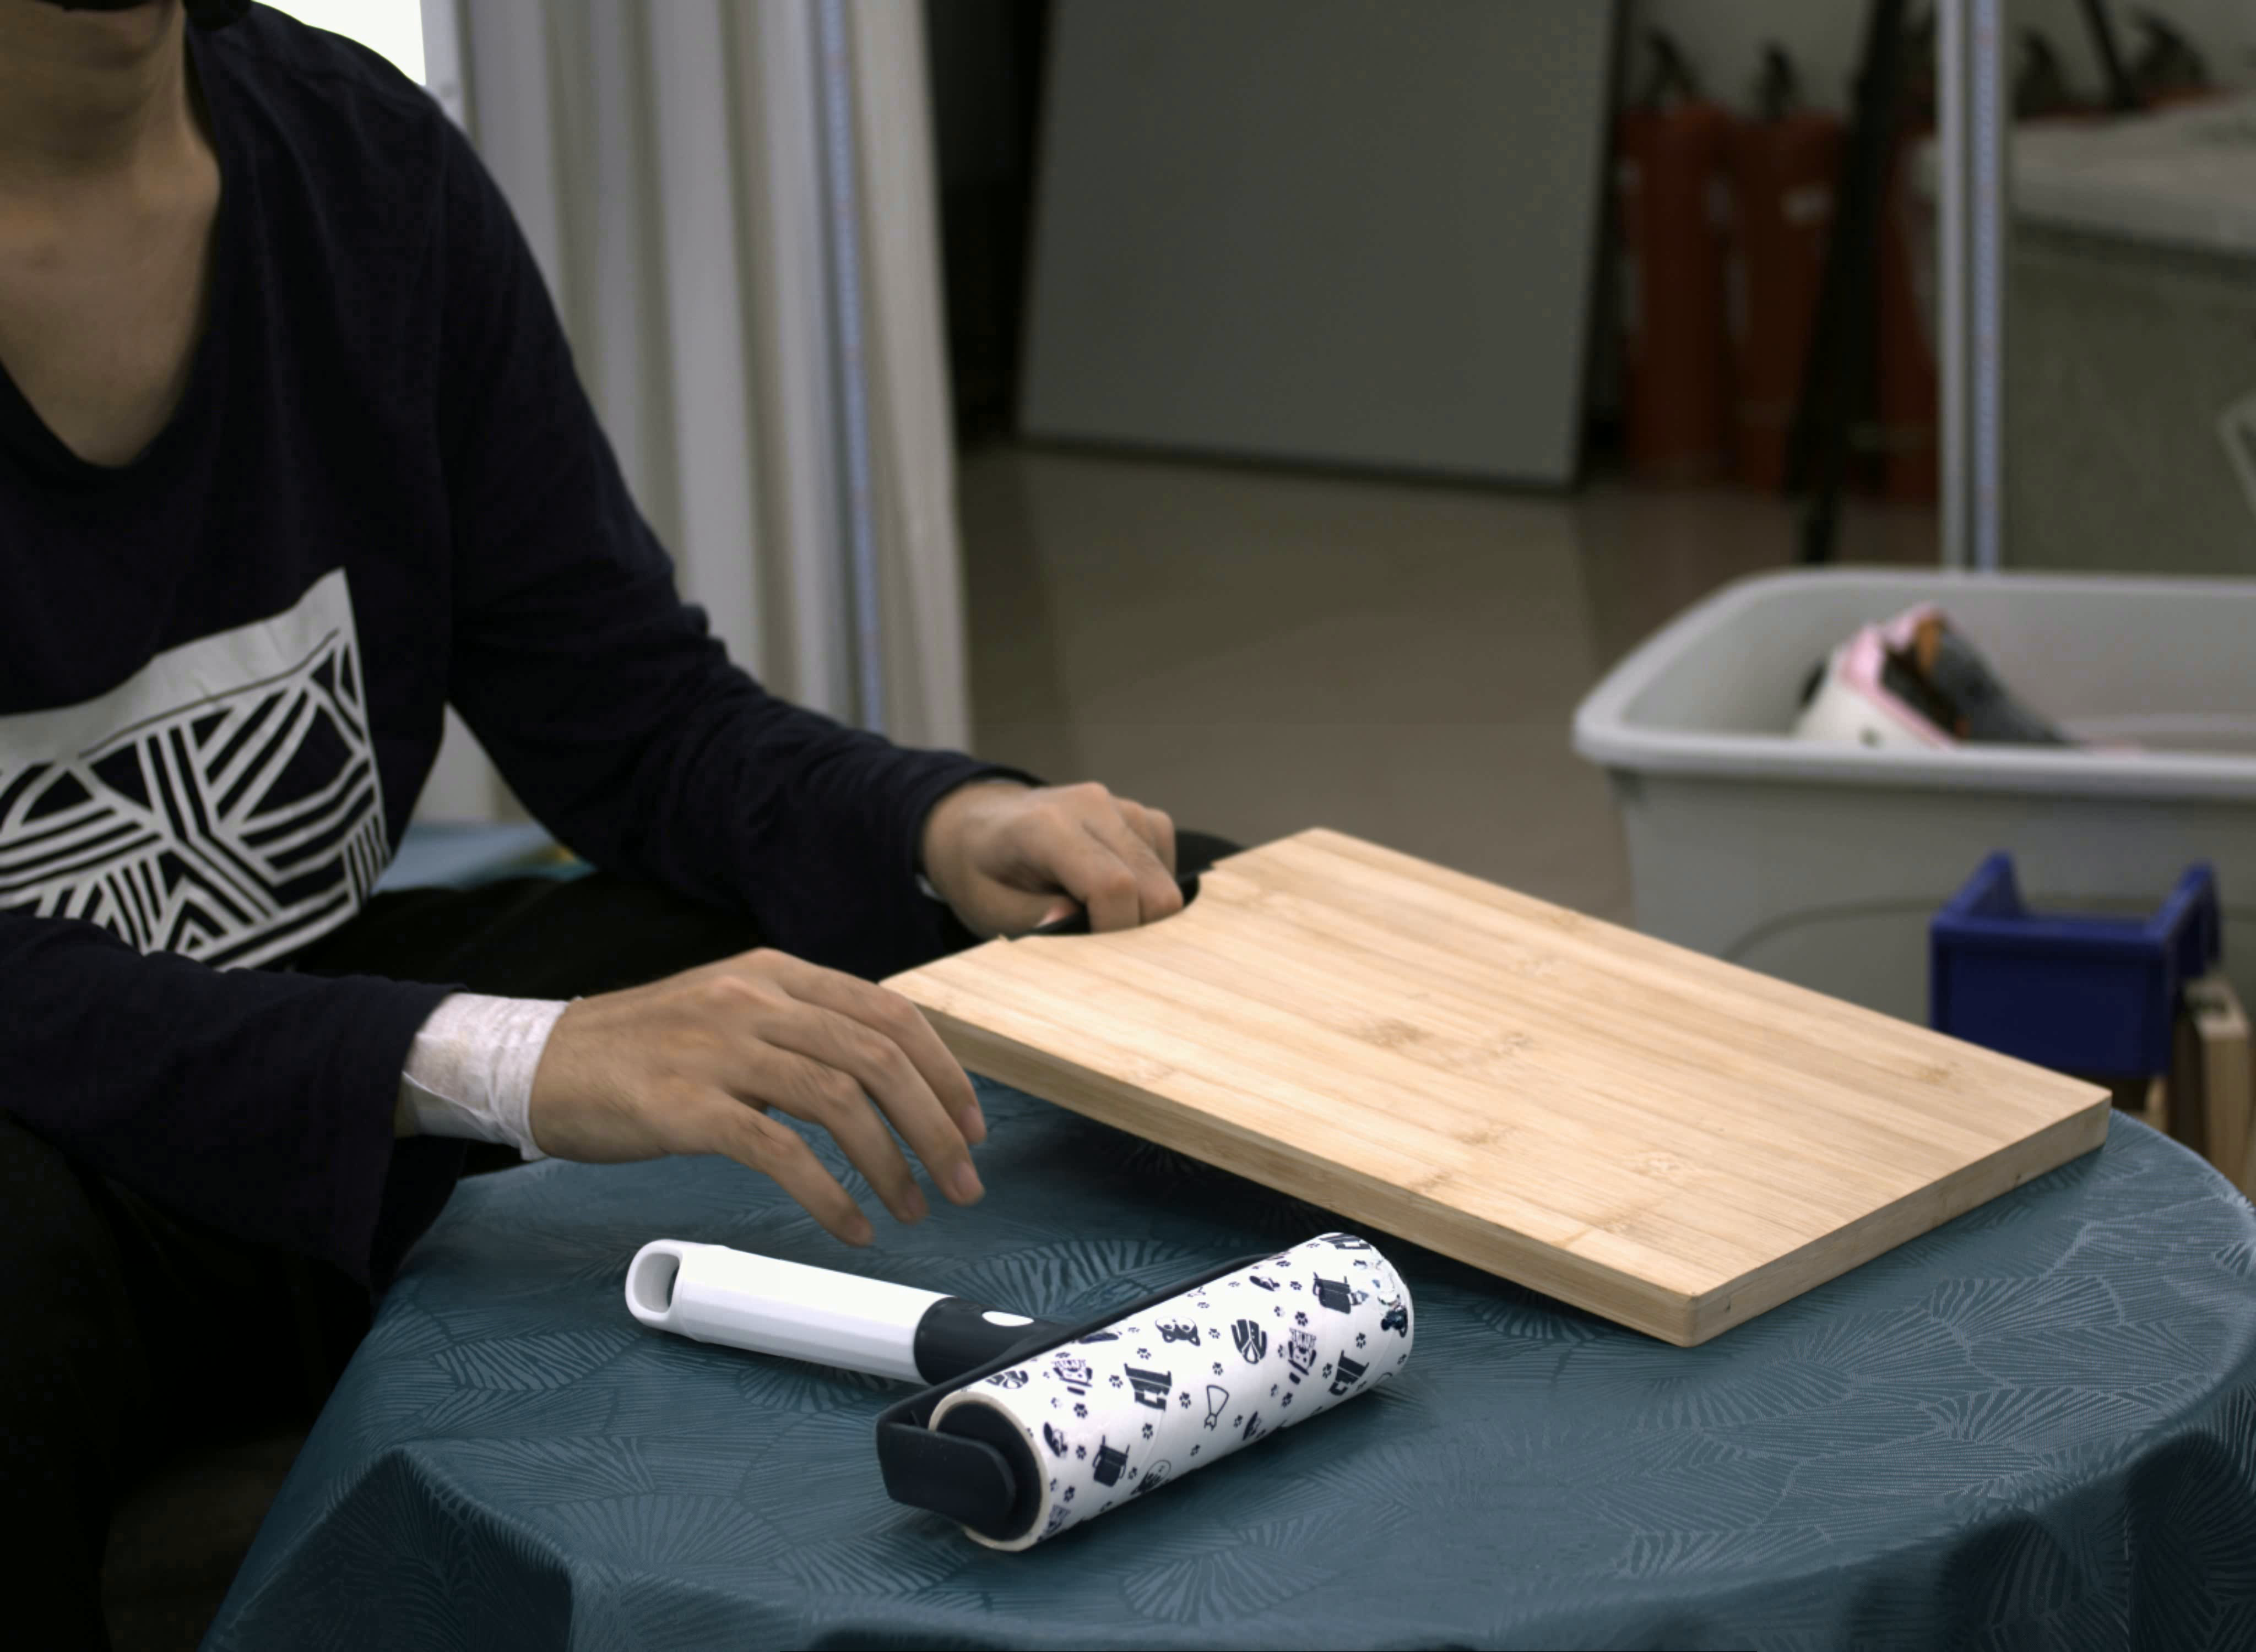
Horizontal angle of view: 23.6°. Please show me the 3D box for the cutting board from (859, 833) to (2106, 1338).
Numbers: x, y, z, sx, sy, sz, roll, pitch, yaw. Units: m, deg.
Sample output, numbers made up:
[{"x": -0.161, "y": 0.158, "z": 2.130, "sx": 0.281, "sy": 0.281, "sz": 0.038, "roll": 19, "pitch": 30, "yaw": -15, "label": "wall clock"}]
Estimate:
[{"x": 0.114, "y": 0.079, "z": 1.779, "sx": 0.351, "sy": 0.024, "sz": 0.246, "roll": 18, "pitch": 24, "yaw": 39, "label": "cutting board"}]

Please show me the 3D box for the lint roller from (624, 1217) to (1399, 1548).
[{"x": -0.063, "y": 0.150, "z": 1.588, "sx": 0.249, "sy": 0.051, "sz": 0.173, "roll": 5, "pitch": 17, "yaw": 42, "label": "lint roller"}]
